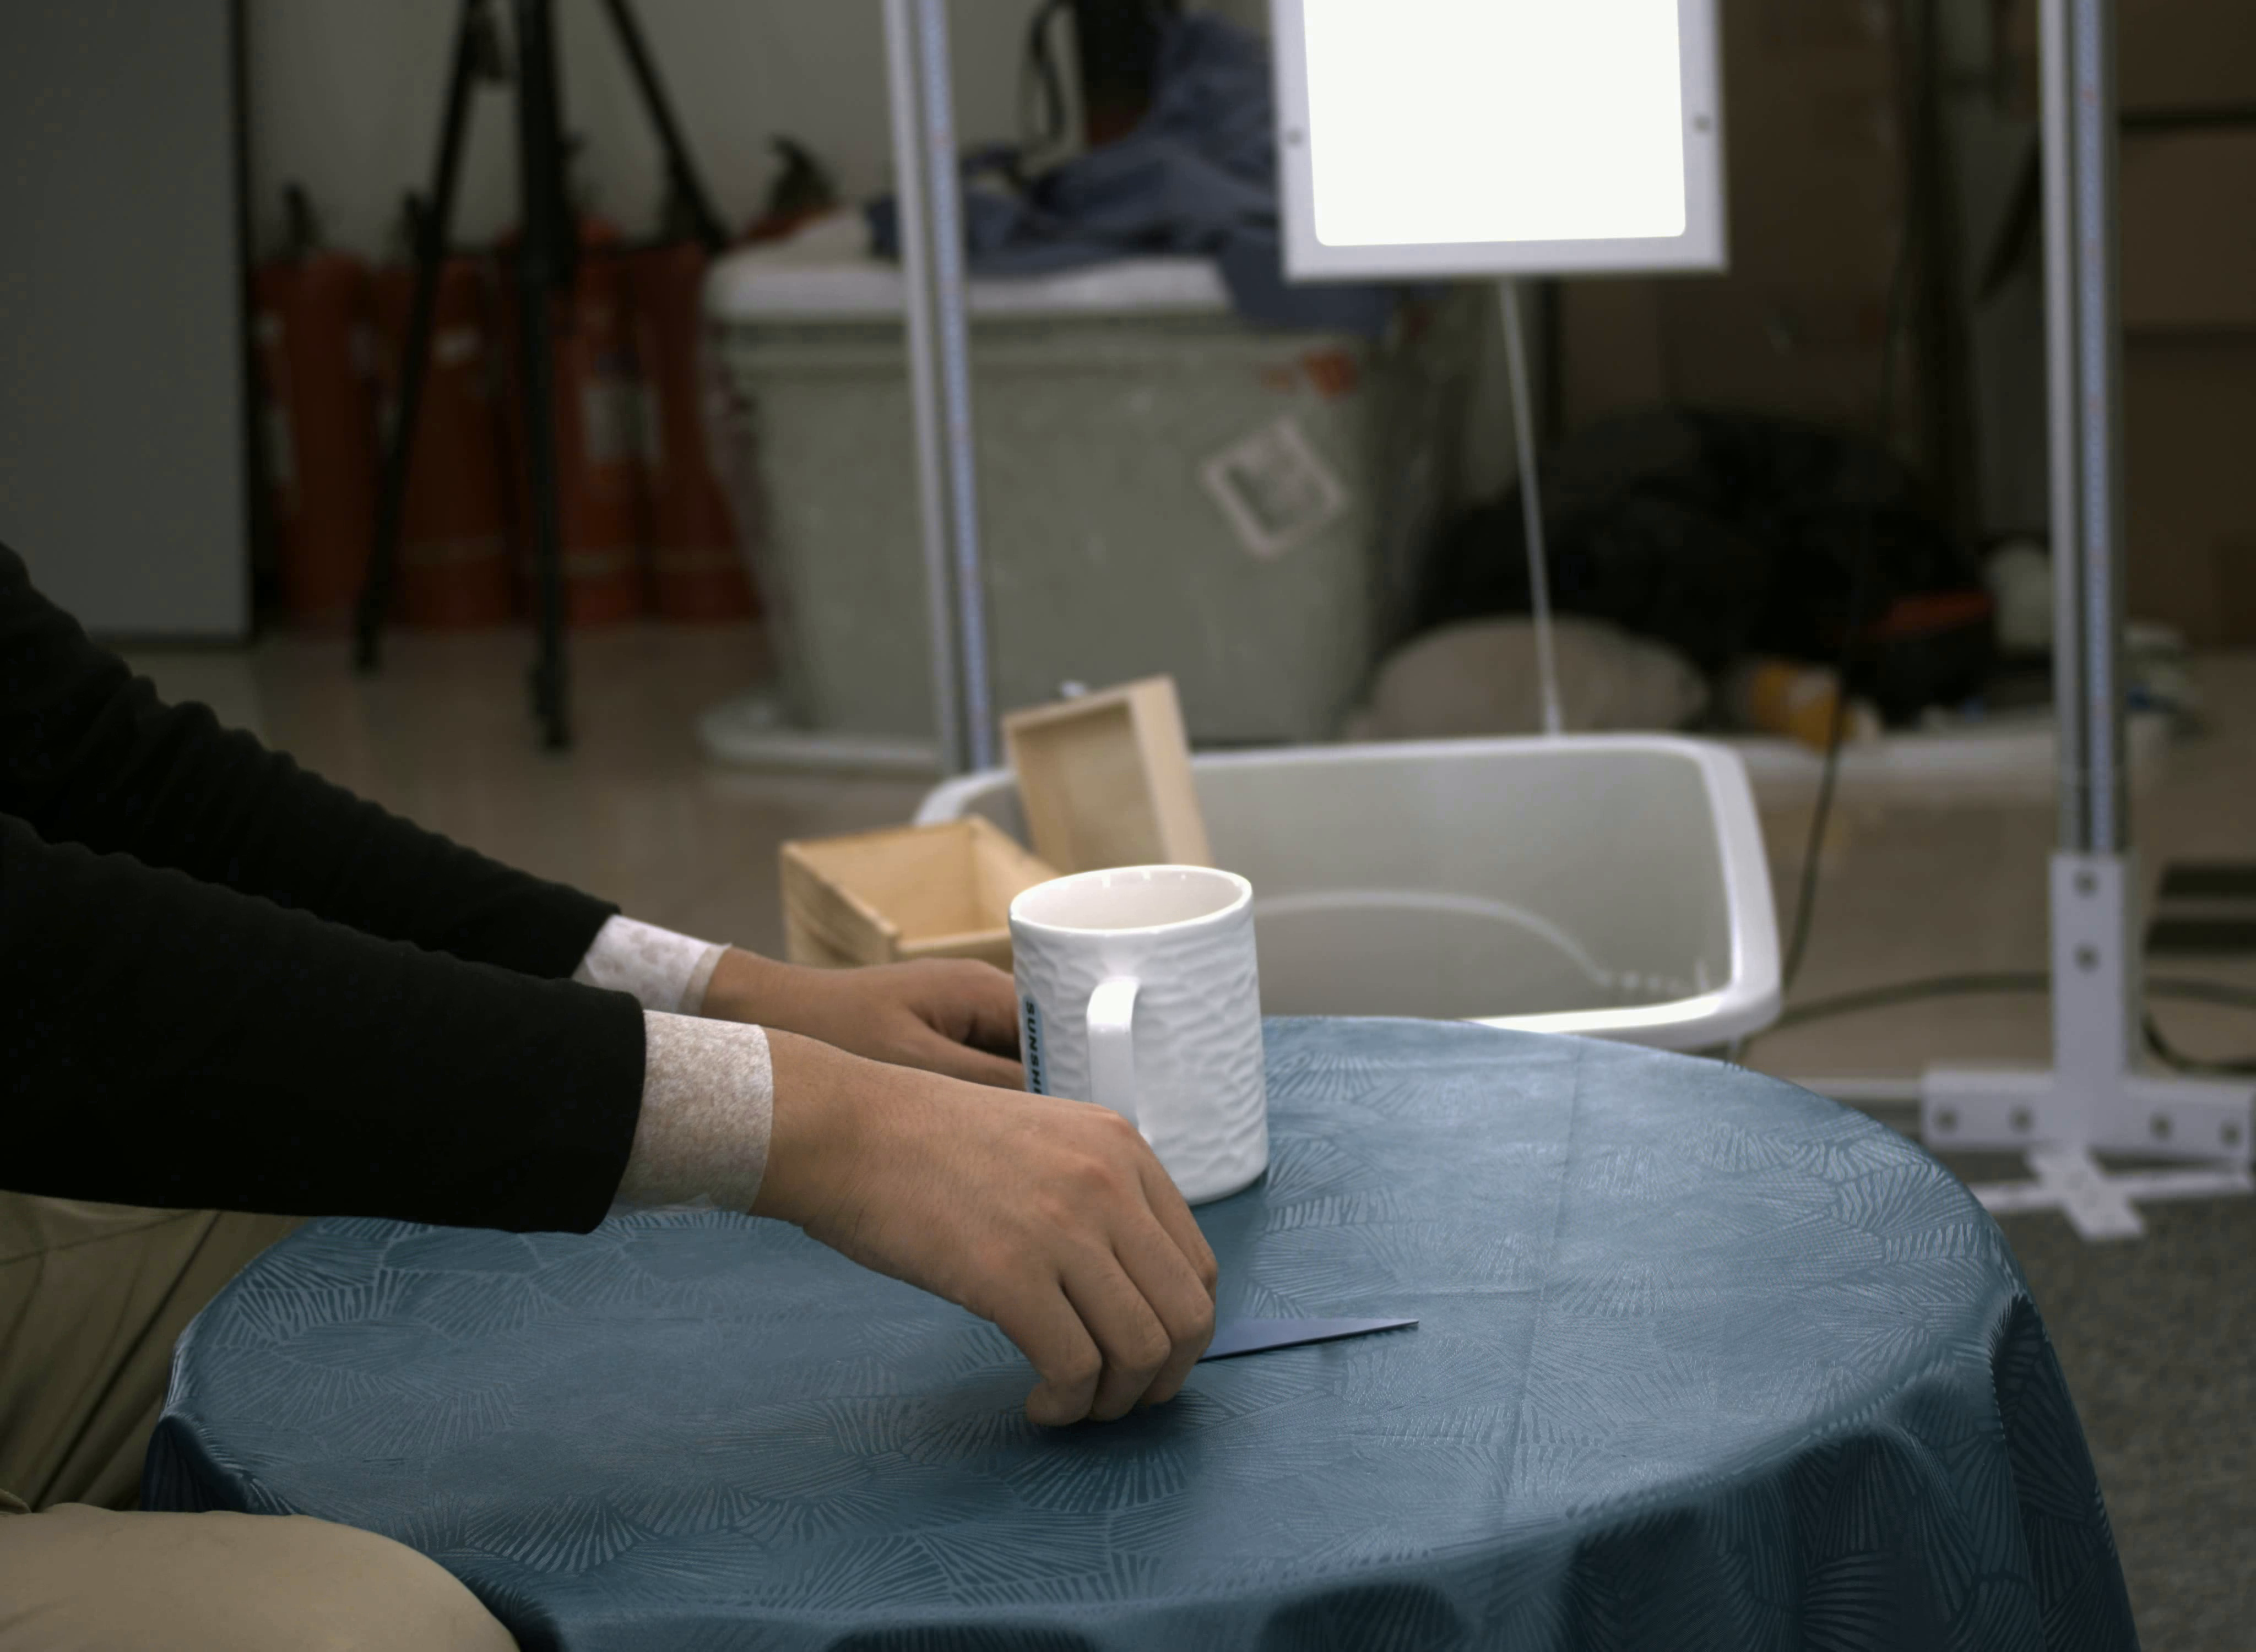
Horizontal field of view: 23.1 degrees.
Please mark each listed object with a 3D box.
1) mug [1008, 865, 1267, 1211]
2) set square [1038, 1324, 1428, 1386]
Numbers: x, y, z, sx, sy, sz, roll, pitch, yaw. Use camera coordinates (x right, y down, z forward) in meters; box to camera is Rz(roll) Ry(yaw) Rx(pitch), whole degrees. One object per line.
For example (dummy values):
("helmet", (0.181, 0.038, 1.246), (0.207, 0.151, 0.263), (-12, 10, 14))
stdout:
("mug", (0.002, 0.077, 1.884), (0.085, 0.102, 0.117), (-2, 14, 9))
("set square", (0.026, 0.166, 1.721), (0.134, 0.006, 0.060), (0, 13, 20))
